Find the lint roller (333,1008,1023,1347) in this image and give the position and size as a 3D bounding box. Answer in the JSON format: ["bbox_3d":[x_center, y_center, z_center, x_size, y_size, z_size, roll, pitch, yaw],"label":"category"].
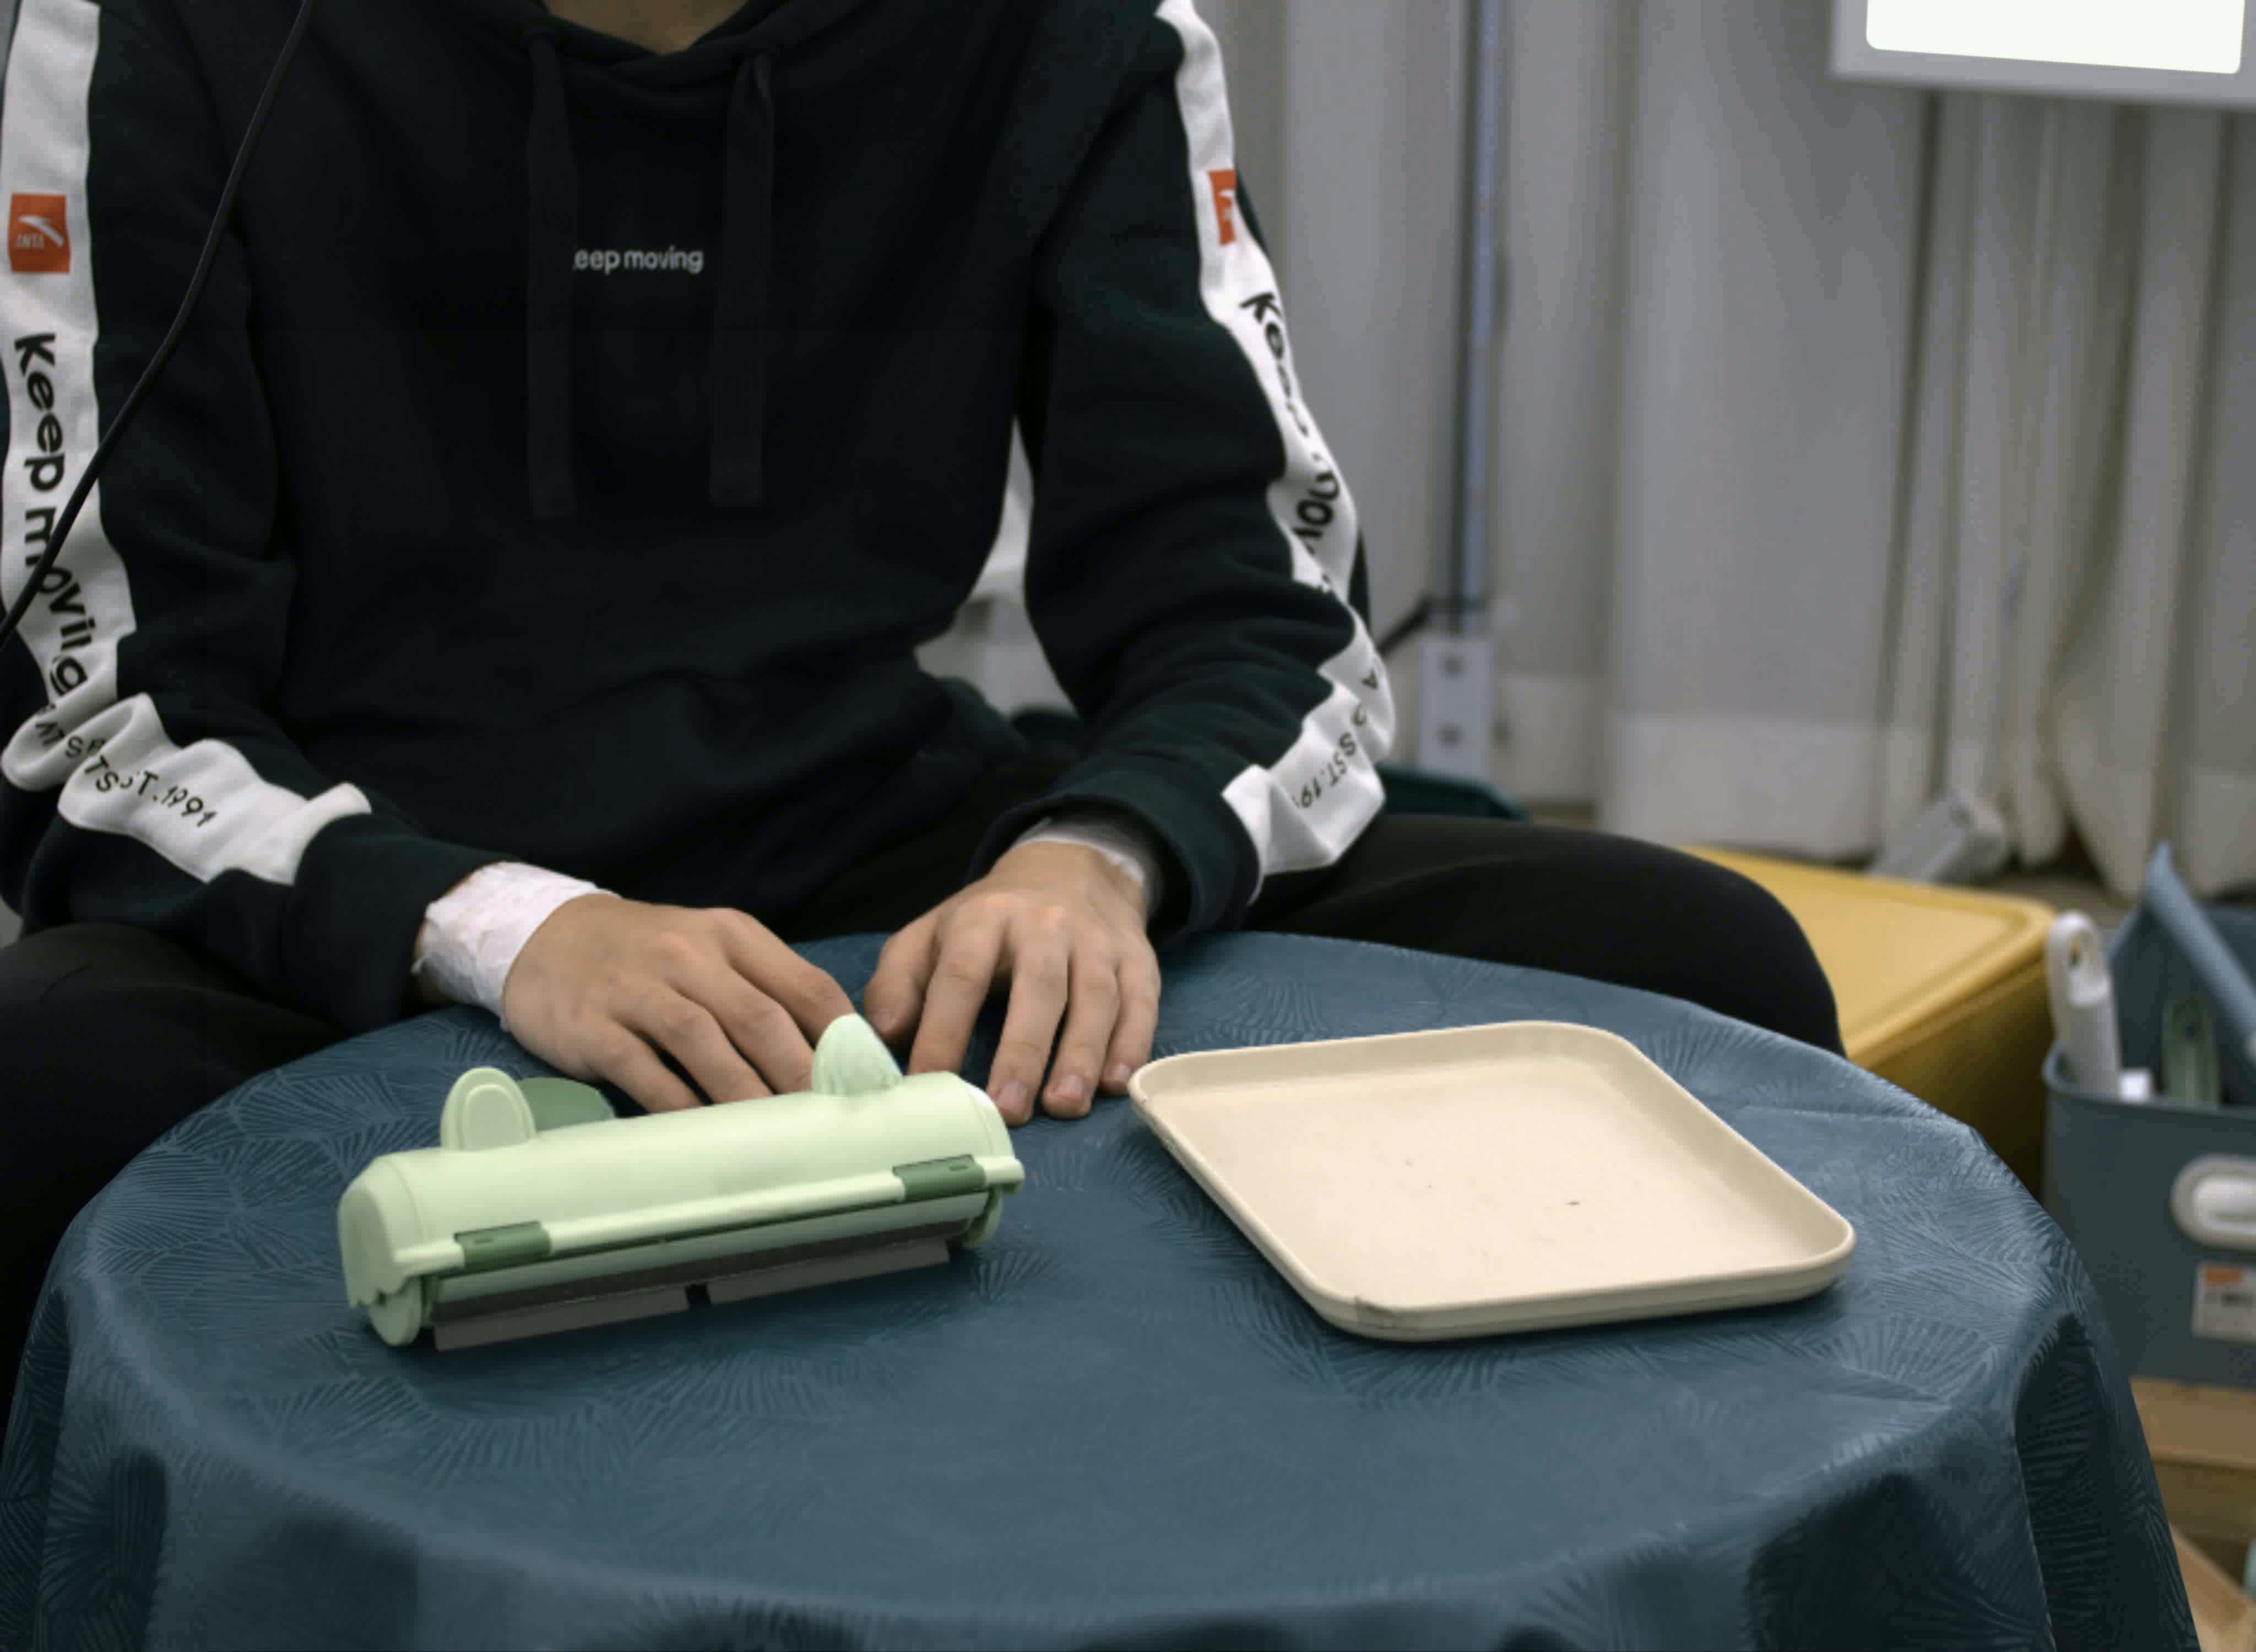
[{"bbox_3d":[-0.154,0.085,1.566,0.199,0.083,0.181,-8,22,-26],"label":"lint roller"}]

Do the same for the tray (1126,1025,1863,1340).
[{"bbox_3d":[0.107,0.107,1.608,0.171,0.017,0.237,-4,16,-17],"label":"tray"}]
